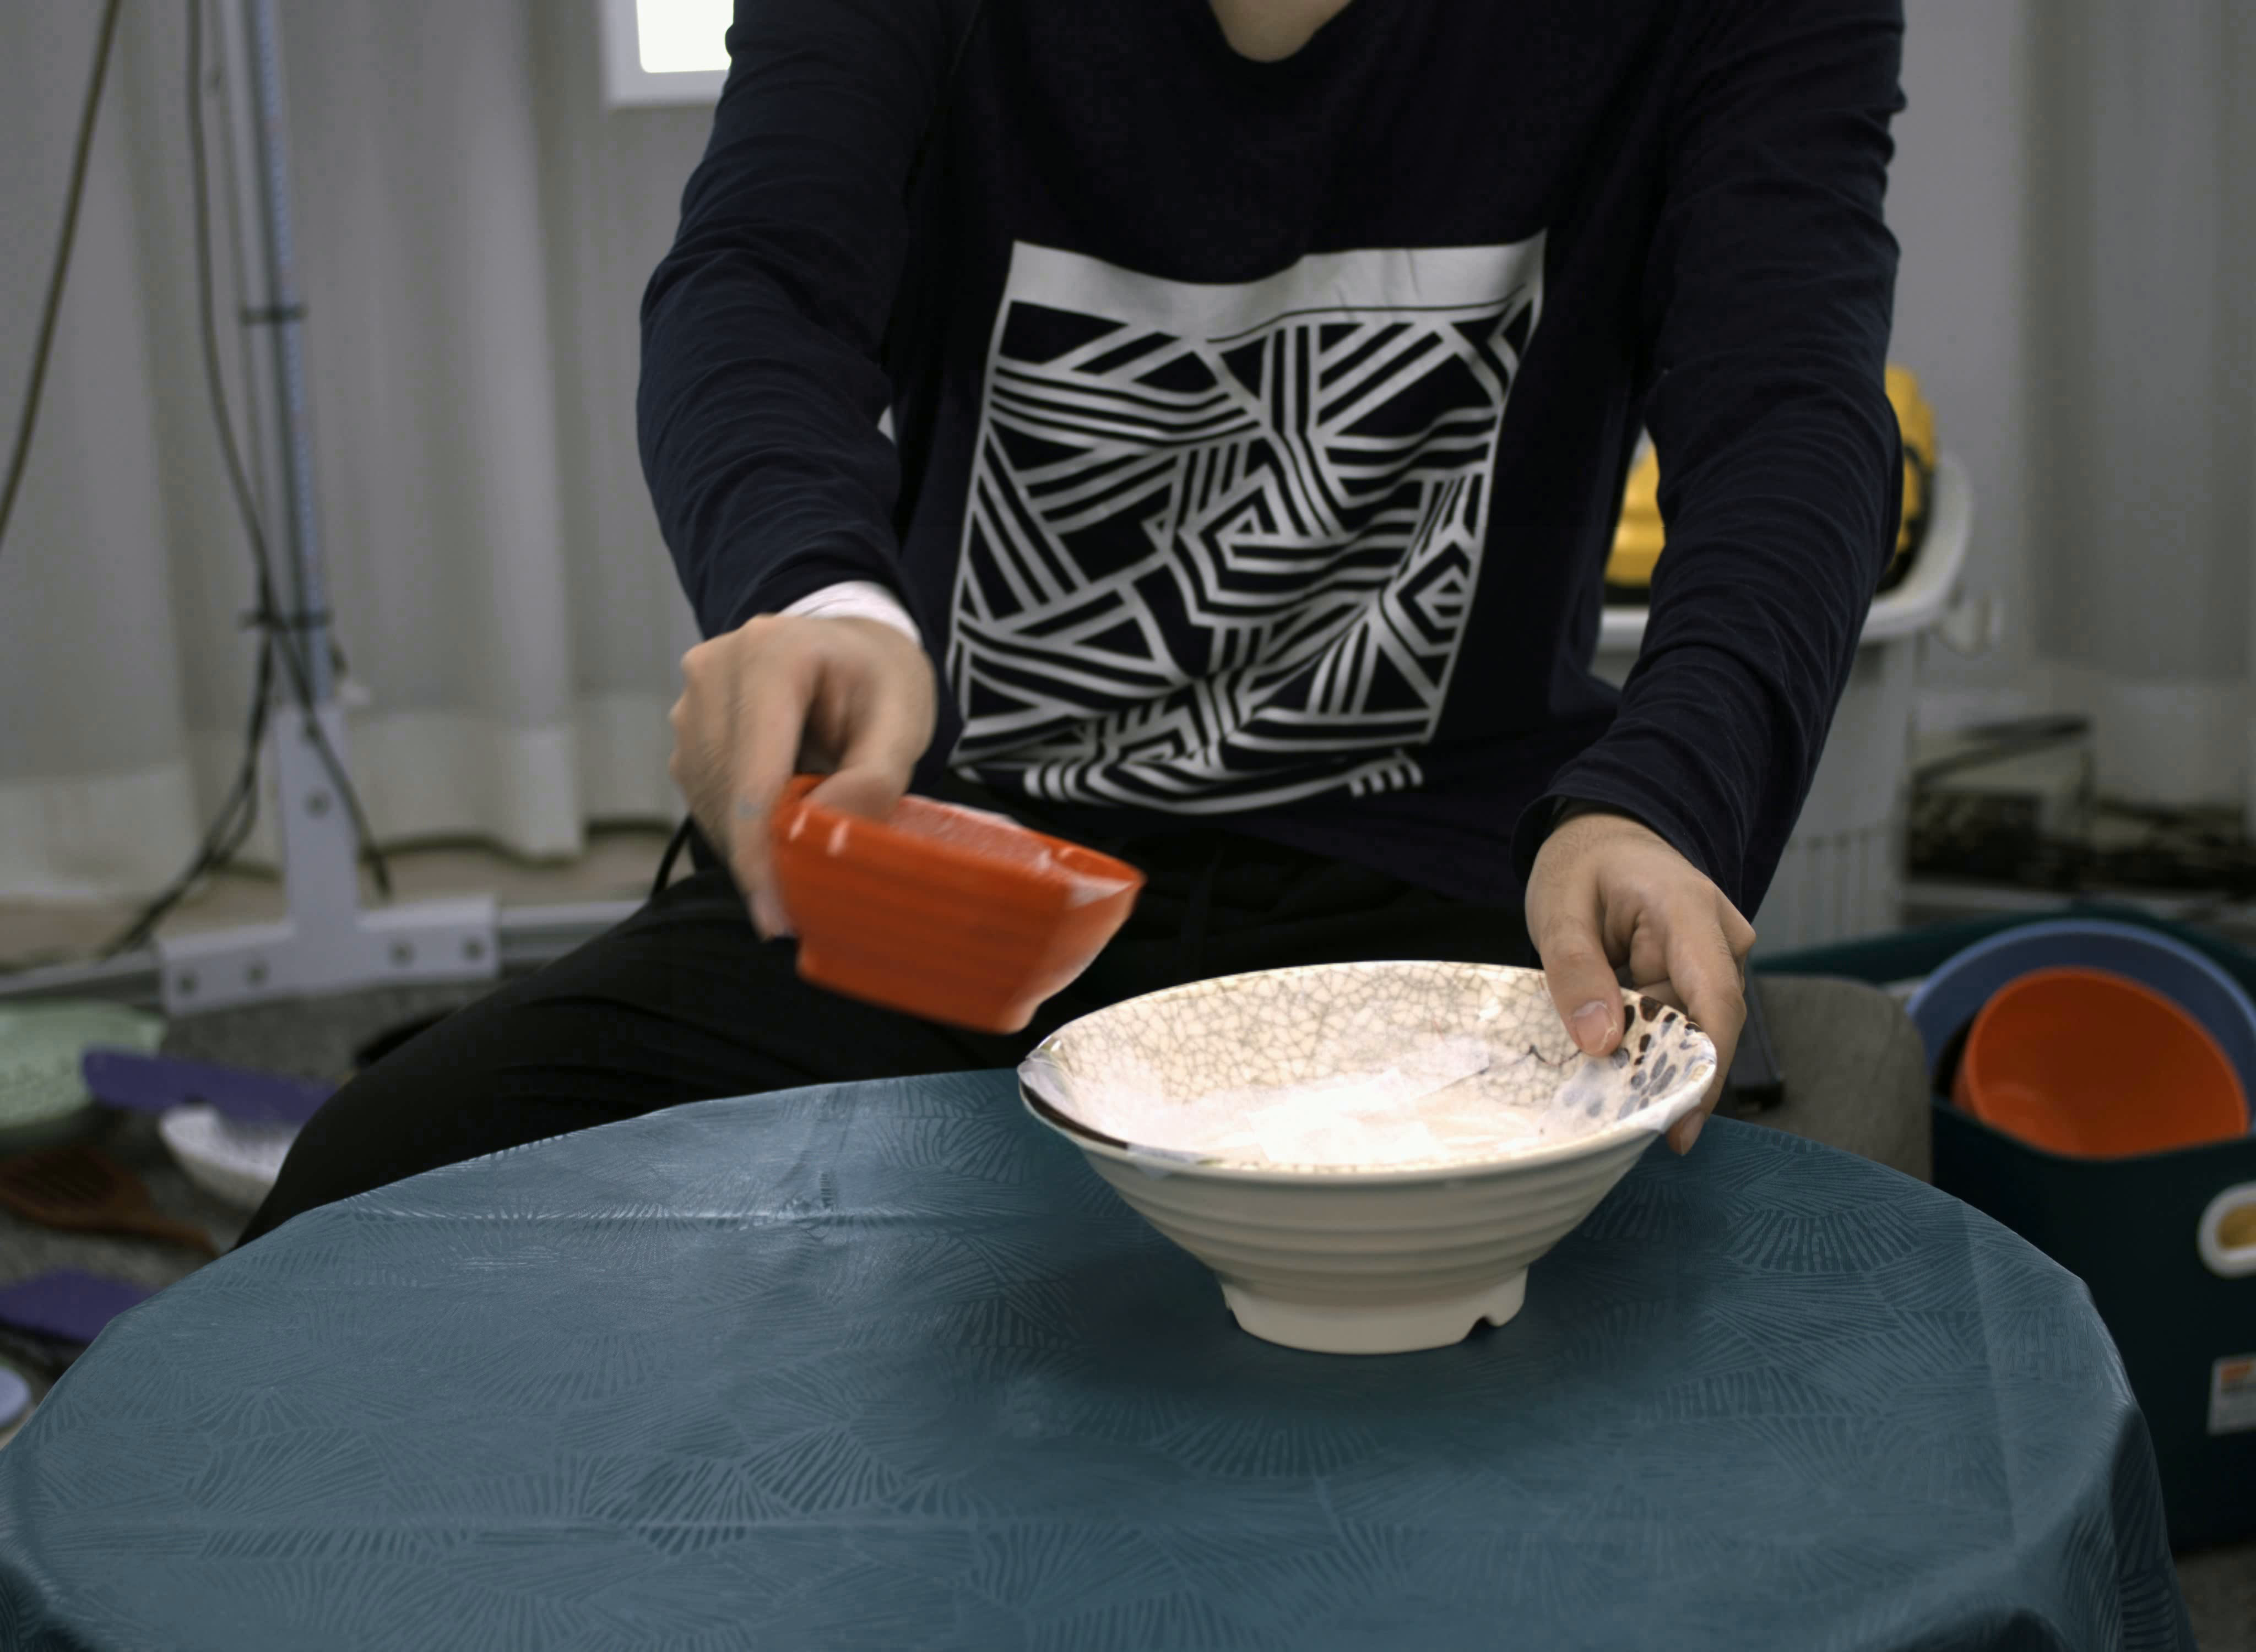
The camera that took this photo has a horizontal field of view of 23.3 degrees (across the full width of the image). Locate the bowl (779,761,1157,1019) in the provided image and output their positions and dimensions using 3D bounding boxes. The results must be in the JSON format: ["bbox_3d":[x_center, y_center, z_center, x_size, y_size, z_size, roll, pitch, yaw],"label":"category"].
[{"bbox_3d":[-0.051,0.021,1.558,0.118,0.051,0.119,15,5,-1],"label":"bowl"}]

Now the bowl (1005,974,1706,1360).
[{"bbox_3d":[0.066,0.106,1.594,0.203,0.078,0.205,0,13,0],"label":"bowl"}]
